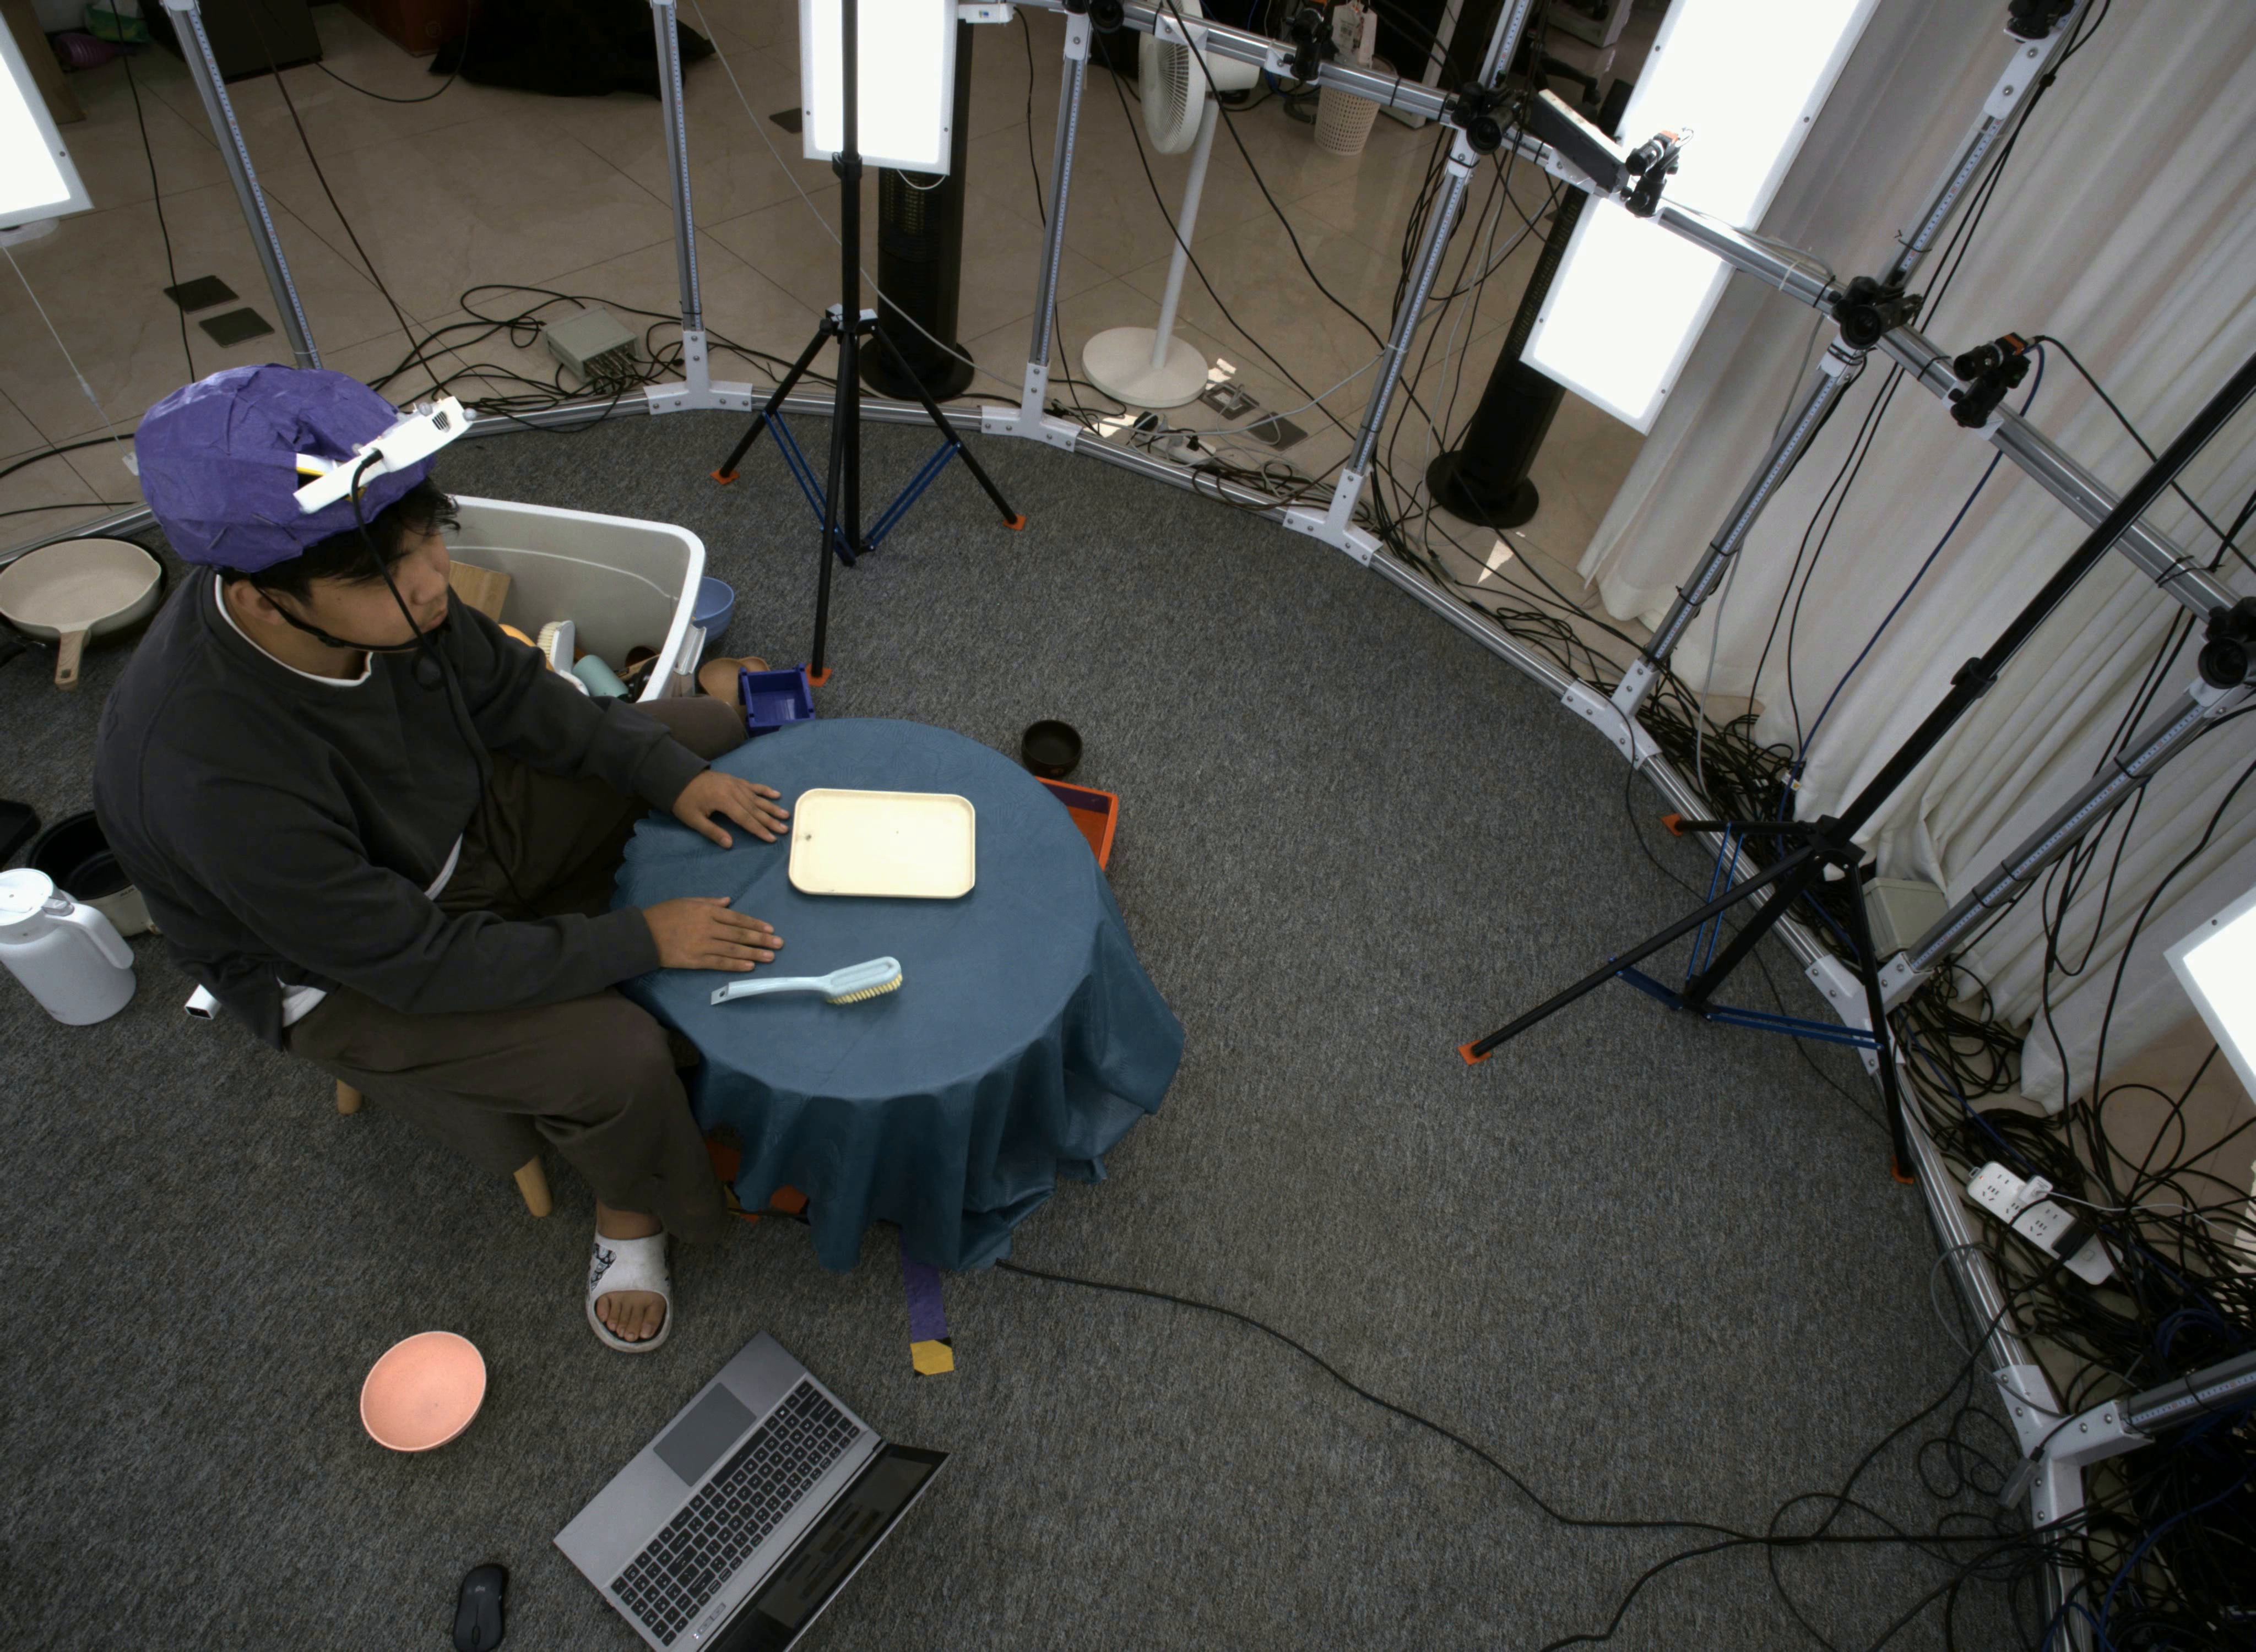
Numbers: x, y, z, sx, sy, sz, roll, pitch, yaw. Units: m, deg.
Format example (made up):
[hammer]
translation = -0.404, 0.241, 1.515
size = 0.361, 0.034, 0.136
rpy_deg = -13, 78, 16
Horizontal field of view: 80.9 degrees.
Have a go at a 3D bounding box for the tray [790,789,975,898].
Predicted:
[tray]
translation = -0.321, 0.023, 1.717
size = 0.239, 0.018, 0.168
rpy_deg = 3, 53, -12

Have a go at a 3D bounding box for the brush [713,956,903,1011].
[brush]
translation = -0.385, 0.196, 1.563
size = 0.228, 0.051, 0.037
rpy_deg = -9, 48, -9
